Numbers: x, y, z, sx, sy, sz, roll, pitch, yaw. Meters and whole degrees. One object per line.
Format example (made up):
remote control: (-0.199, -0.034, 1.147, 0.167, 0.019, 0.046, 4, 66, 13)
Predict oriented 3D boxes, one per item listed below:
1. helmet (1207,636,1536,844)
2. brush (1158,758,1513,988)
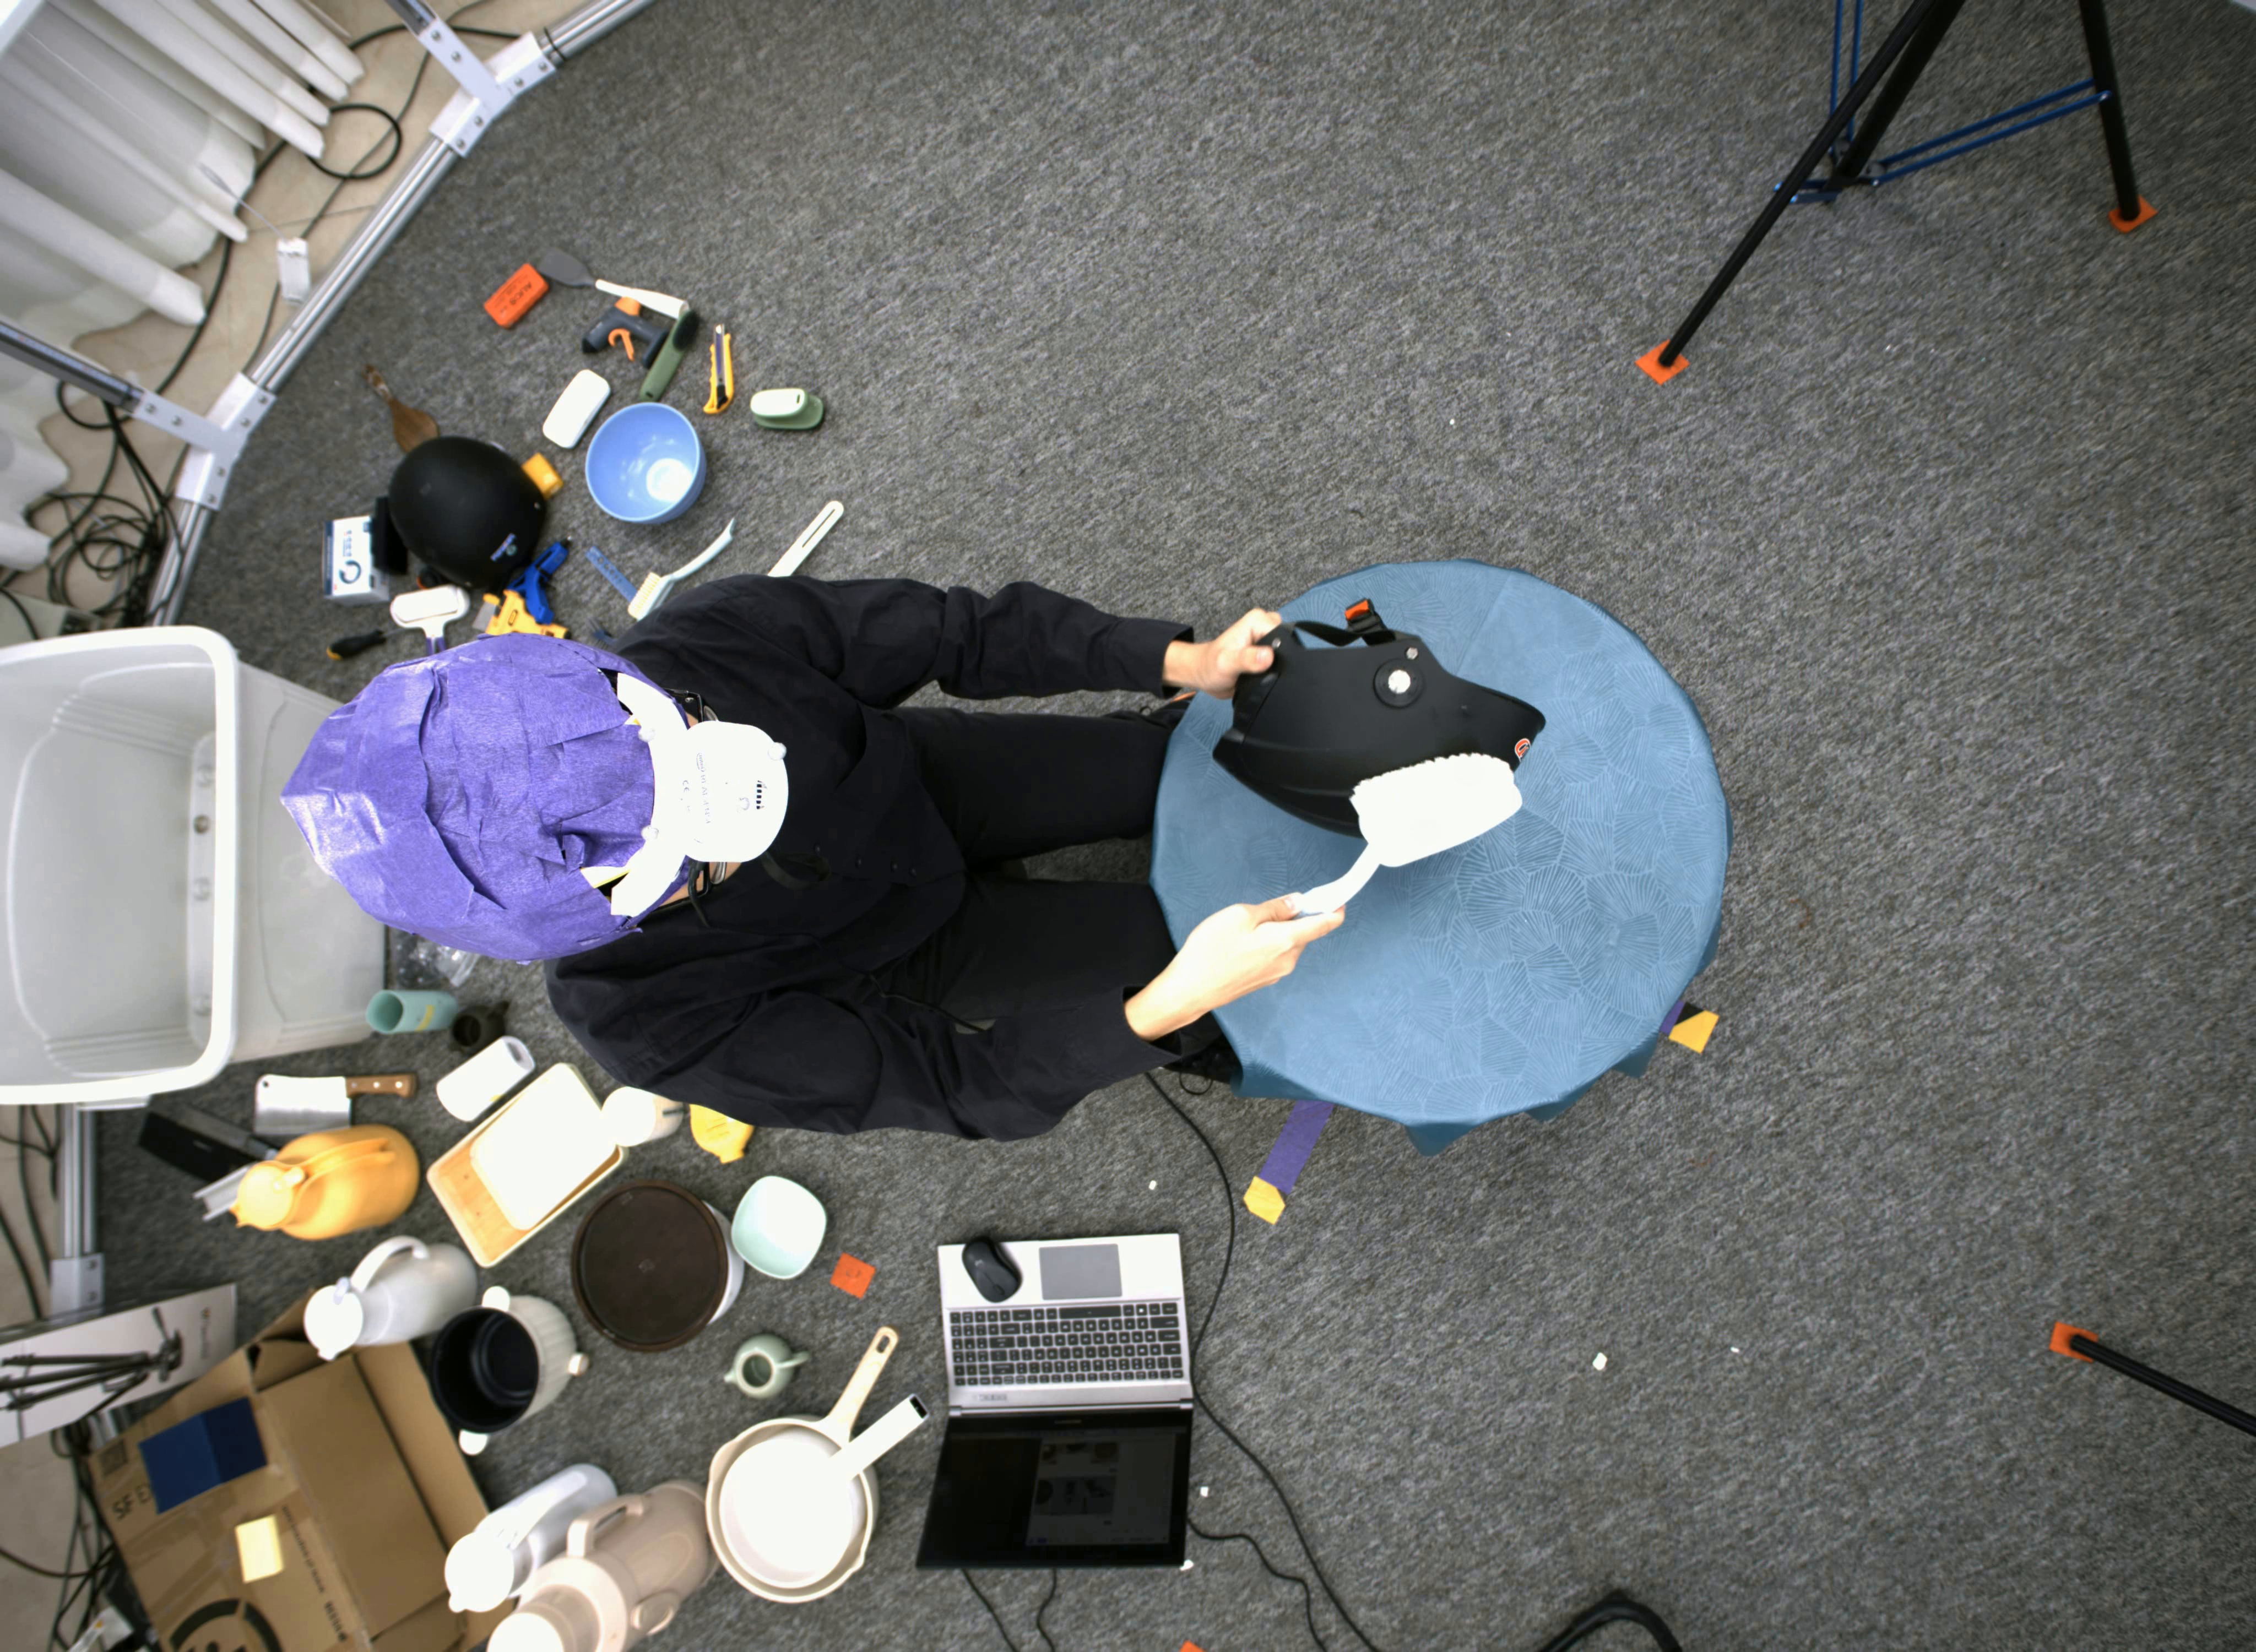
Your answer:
helmet: (0.213, -0.070, 1.234, 0.277, 0.247, 0.172, 13, 86, 18)
brush: (0.160, 0.027, 1.145, 0.327, 0.084, 0.083, -28, 93, 7)
